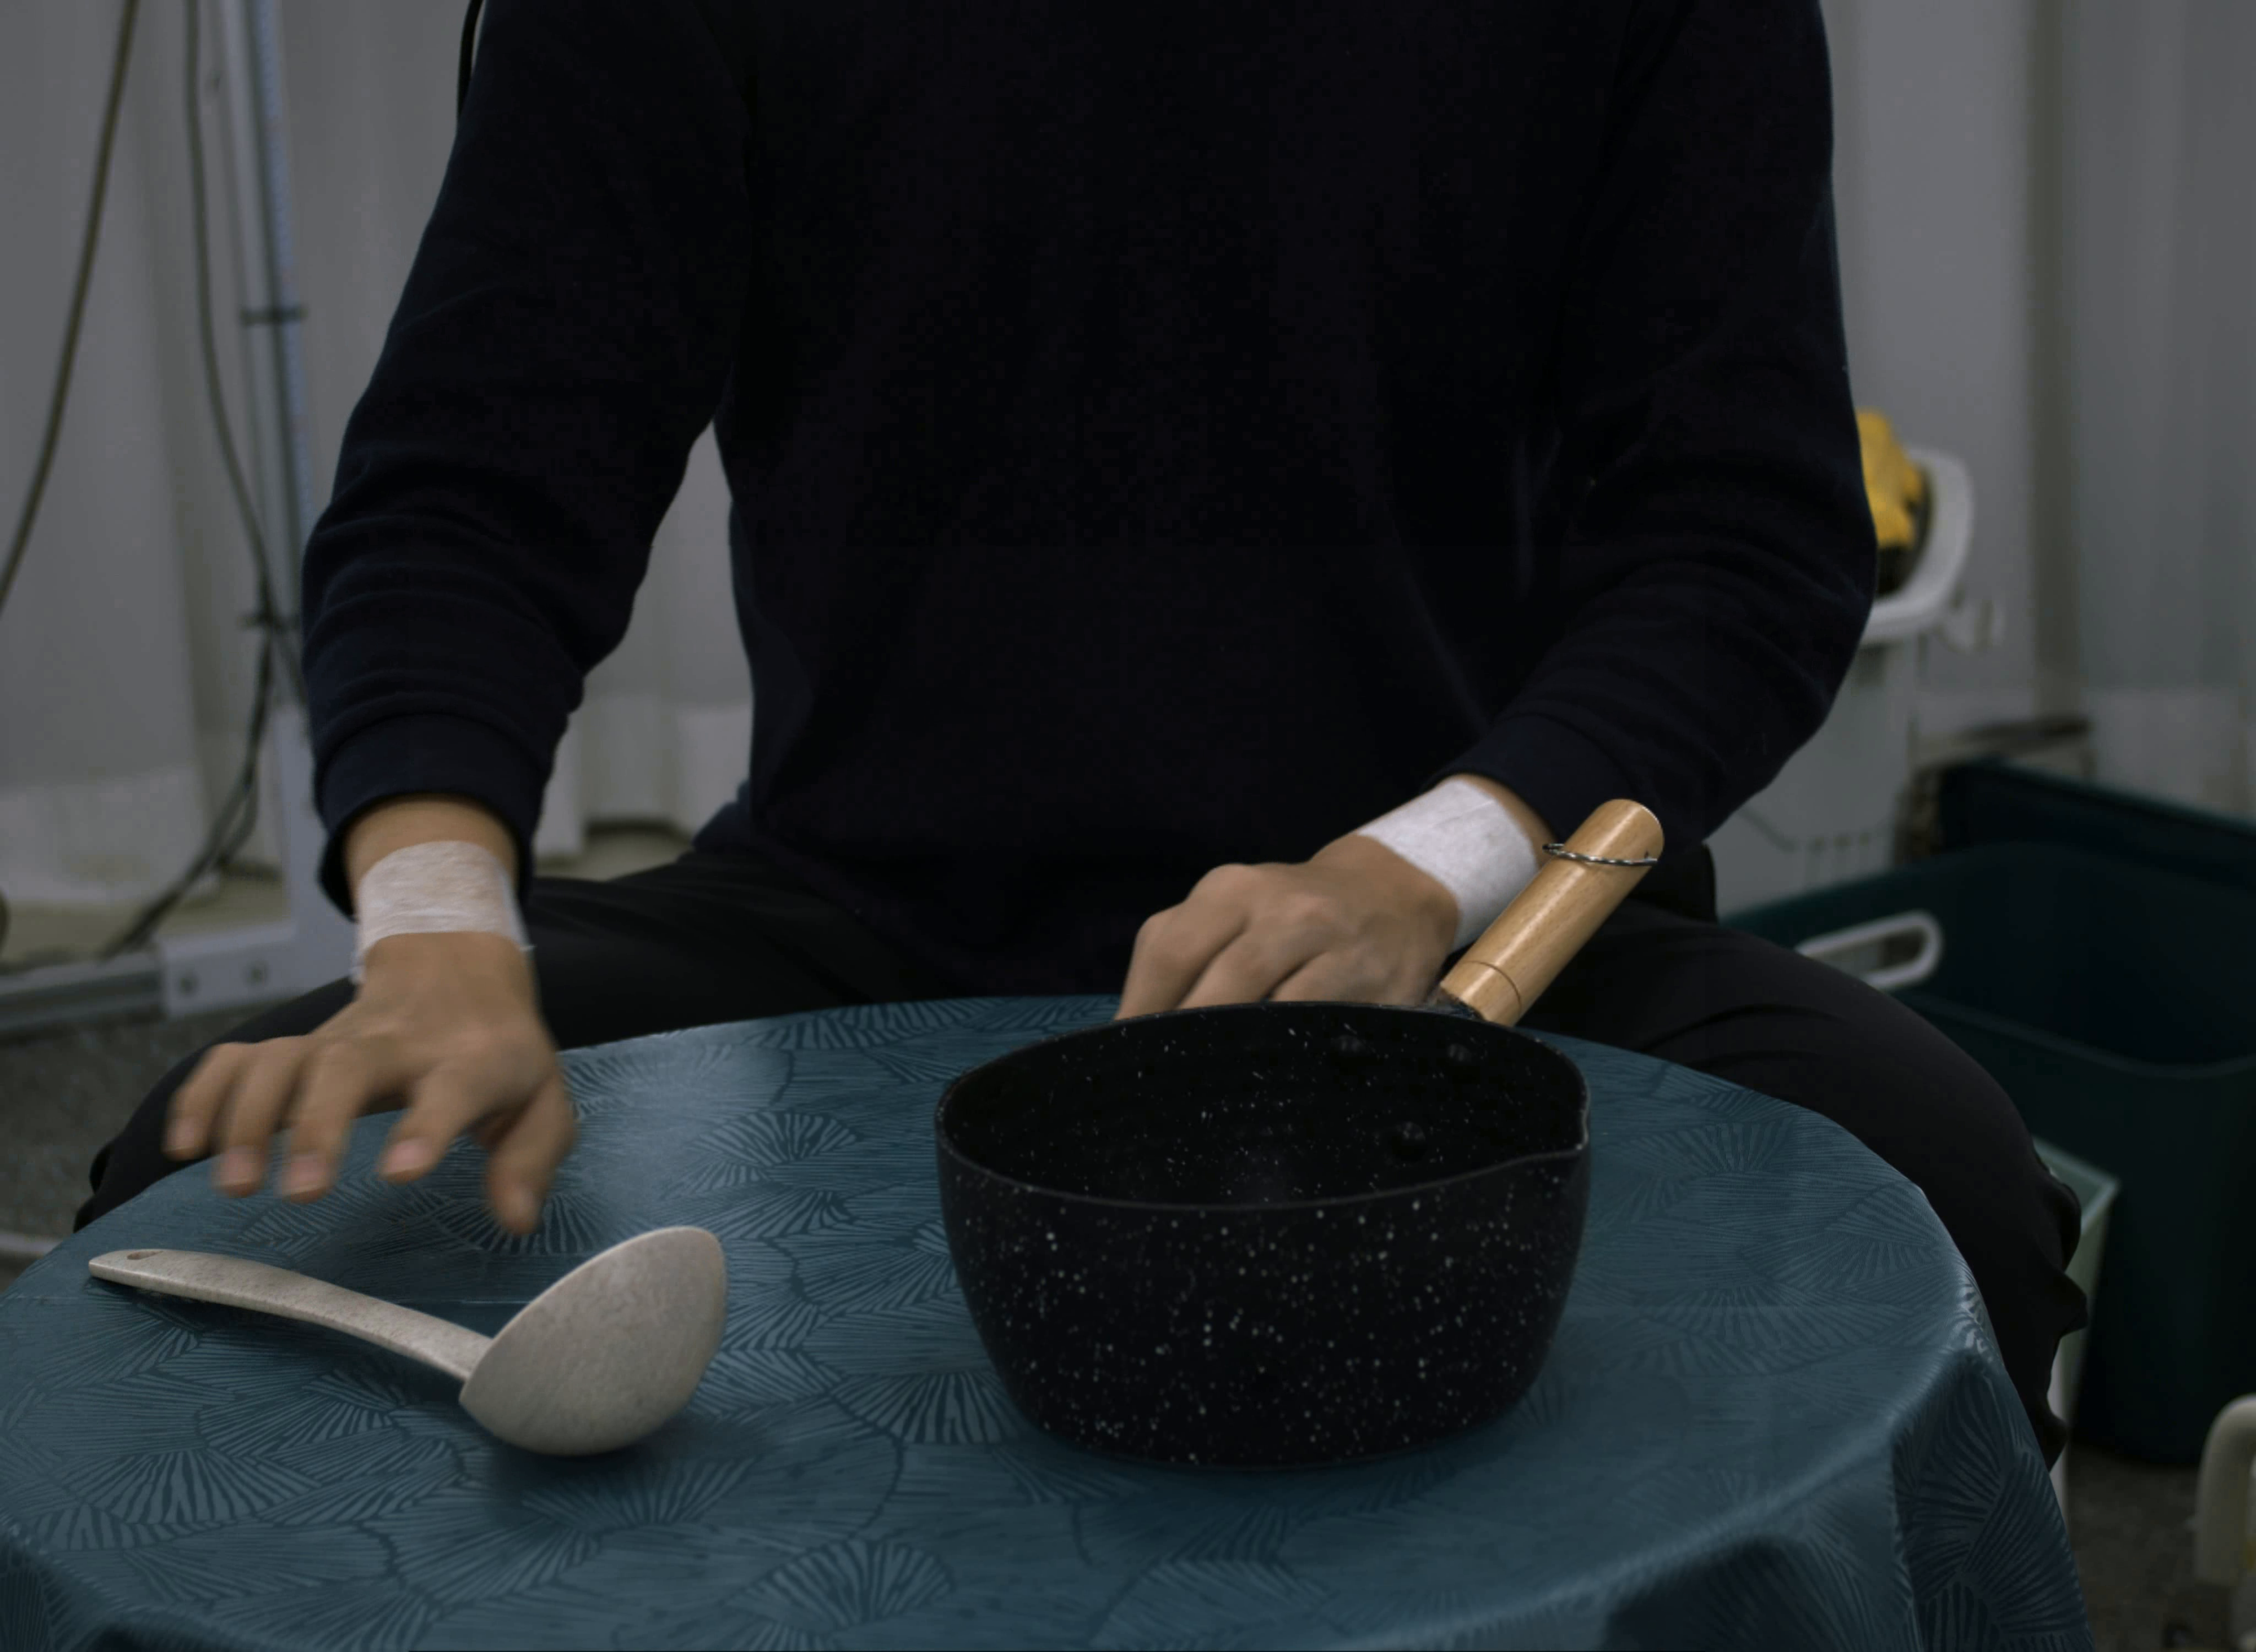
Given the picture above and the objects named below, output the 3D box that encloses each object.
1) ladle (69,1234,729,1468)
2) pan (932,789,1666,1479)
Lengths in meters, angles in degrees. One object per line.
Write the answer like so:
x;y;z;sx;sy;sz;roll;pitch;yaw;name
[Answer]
-0.225;0.125;1.585;0.276;0.069;0.089;13;29;41;ladle
0.077;0.085;1.603;0.208;0.108;0.343;4;18;29;pan
